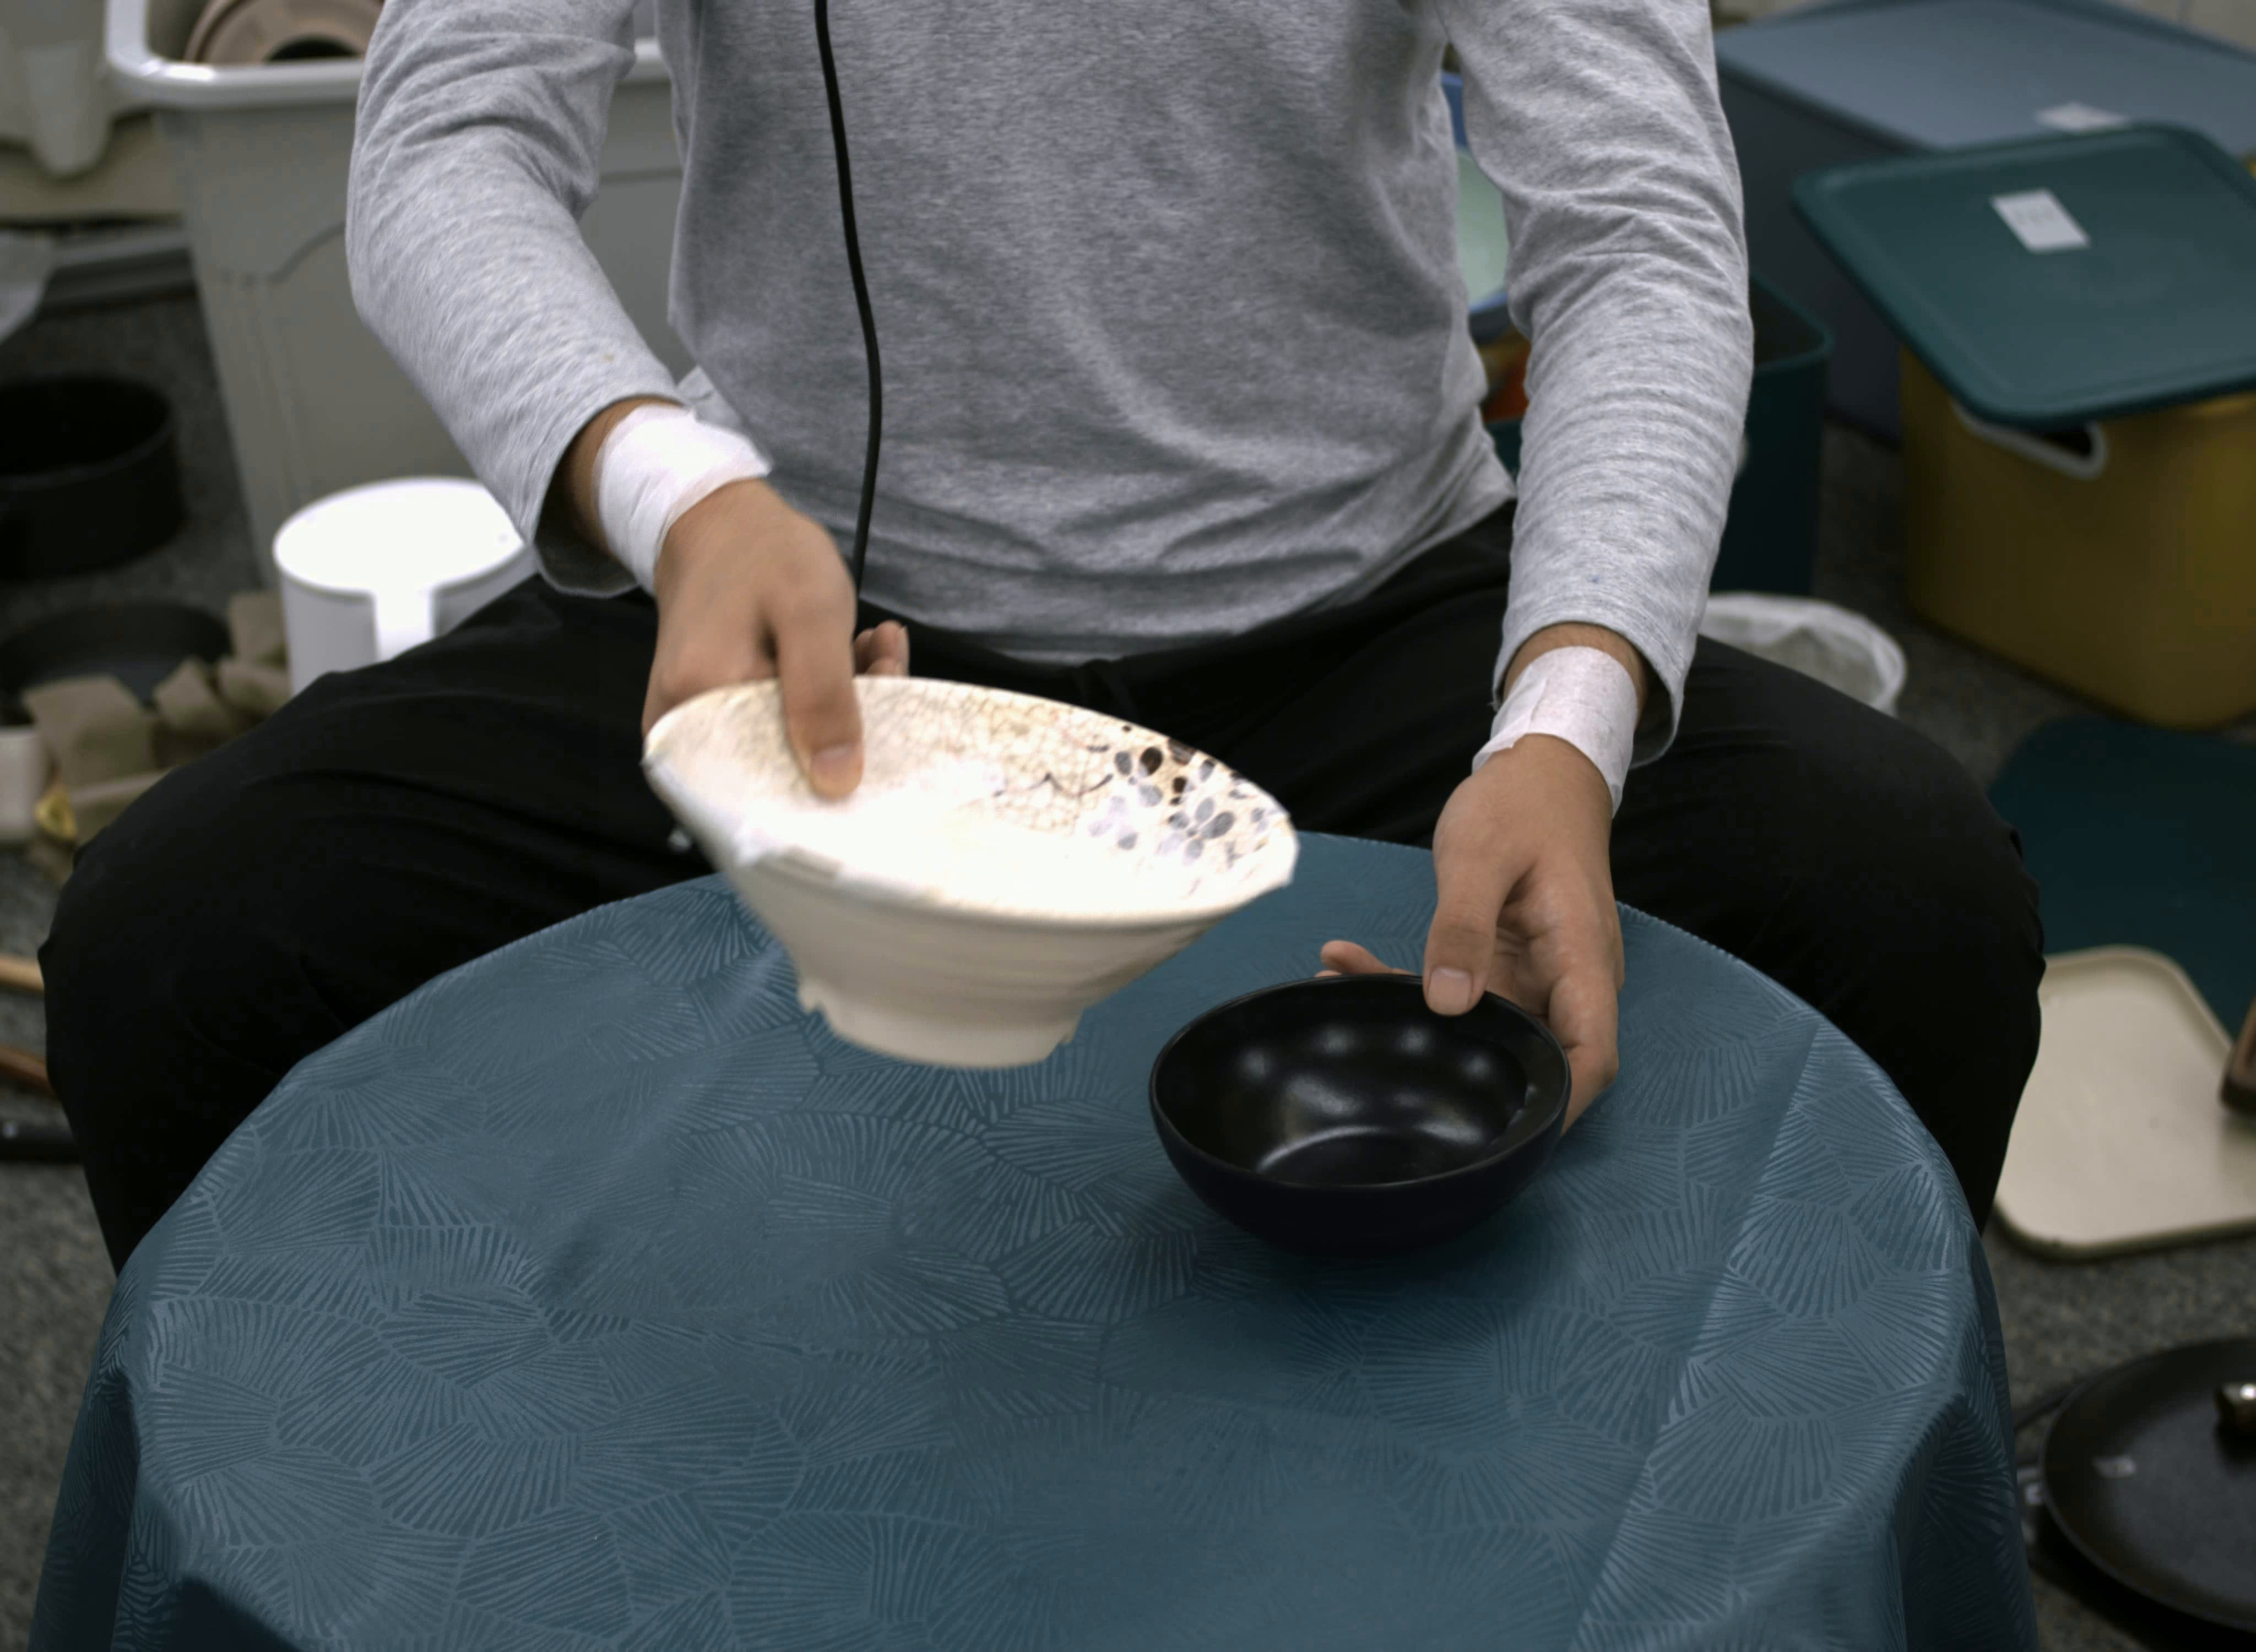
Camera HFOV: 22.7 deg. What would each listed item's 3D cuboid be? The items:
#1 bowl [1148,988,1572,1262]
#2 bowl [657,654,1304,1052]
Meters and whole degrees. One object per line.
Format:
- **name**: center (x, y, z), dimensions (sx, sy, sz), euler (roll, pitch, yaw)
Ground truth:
- **bowl**: center (0.076, 0.105, 1.839), dimensions (0.139, 0.049, 0.142), euler (-1, 23, 1)
- **bowl**: center (-0.052, 0.018, 1.739), dimensions (0.203, 0.077, 0.206), euler (11, 17, -3)
